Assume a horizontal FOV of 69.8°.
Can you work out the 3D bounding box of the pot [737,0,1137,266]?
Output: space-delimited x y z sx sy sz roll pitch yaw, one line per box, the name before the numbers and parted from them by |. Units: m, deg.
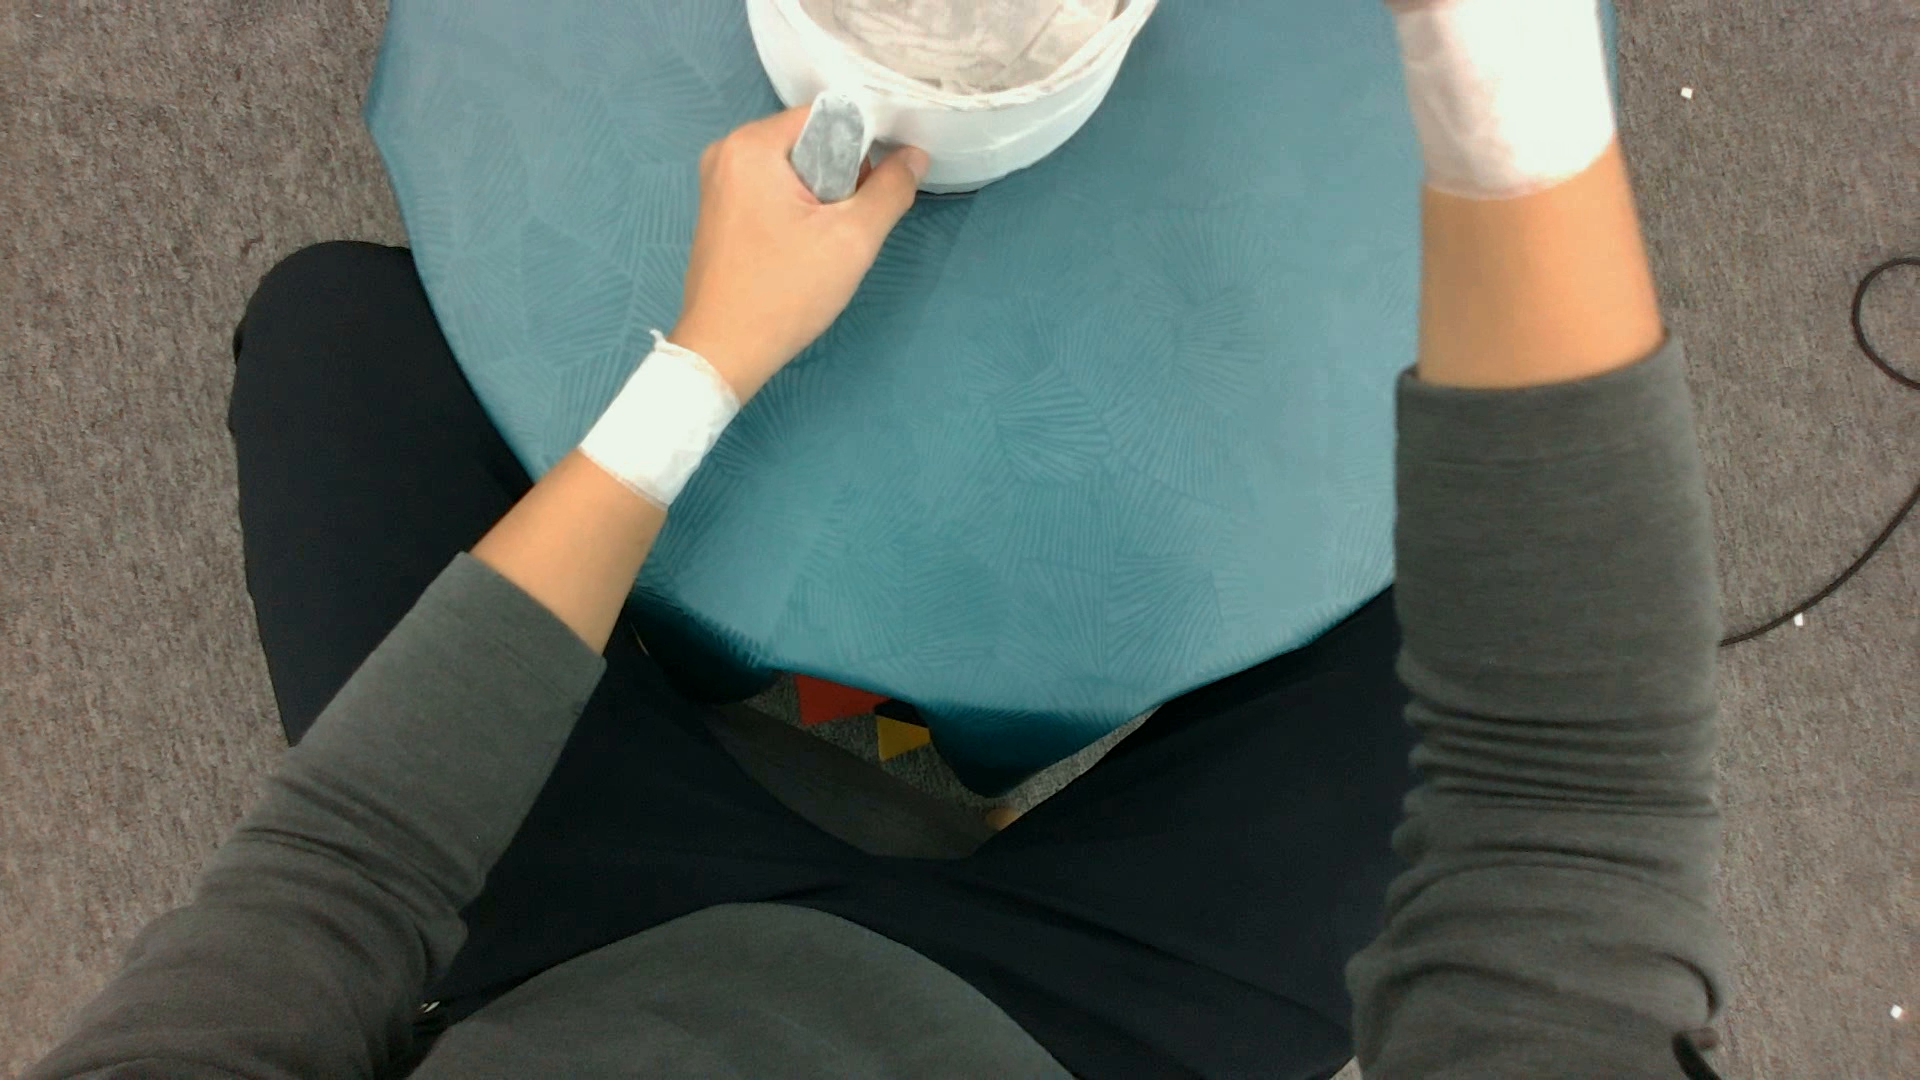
pot | -0.022 -0.232 0.595 0.179 0.136 0.234 26 86 -5
